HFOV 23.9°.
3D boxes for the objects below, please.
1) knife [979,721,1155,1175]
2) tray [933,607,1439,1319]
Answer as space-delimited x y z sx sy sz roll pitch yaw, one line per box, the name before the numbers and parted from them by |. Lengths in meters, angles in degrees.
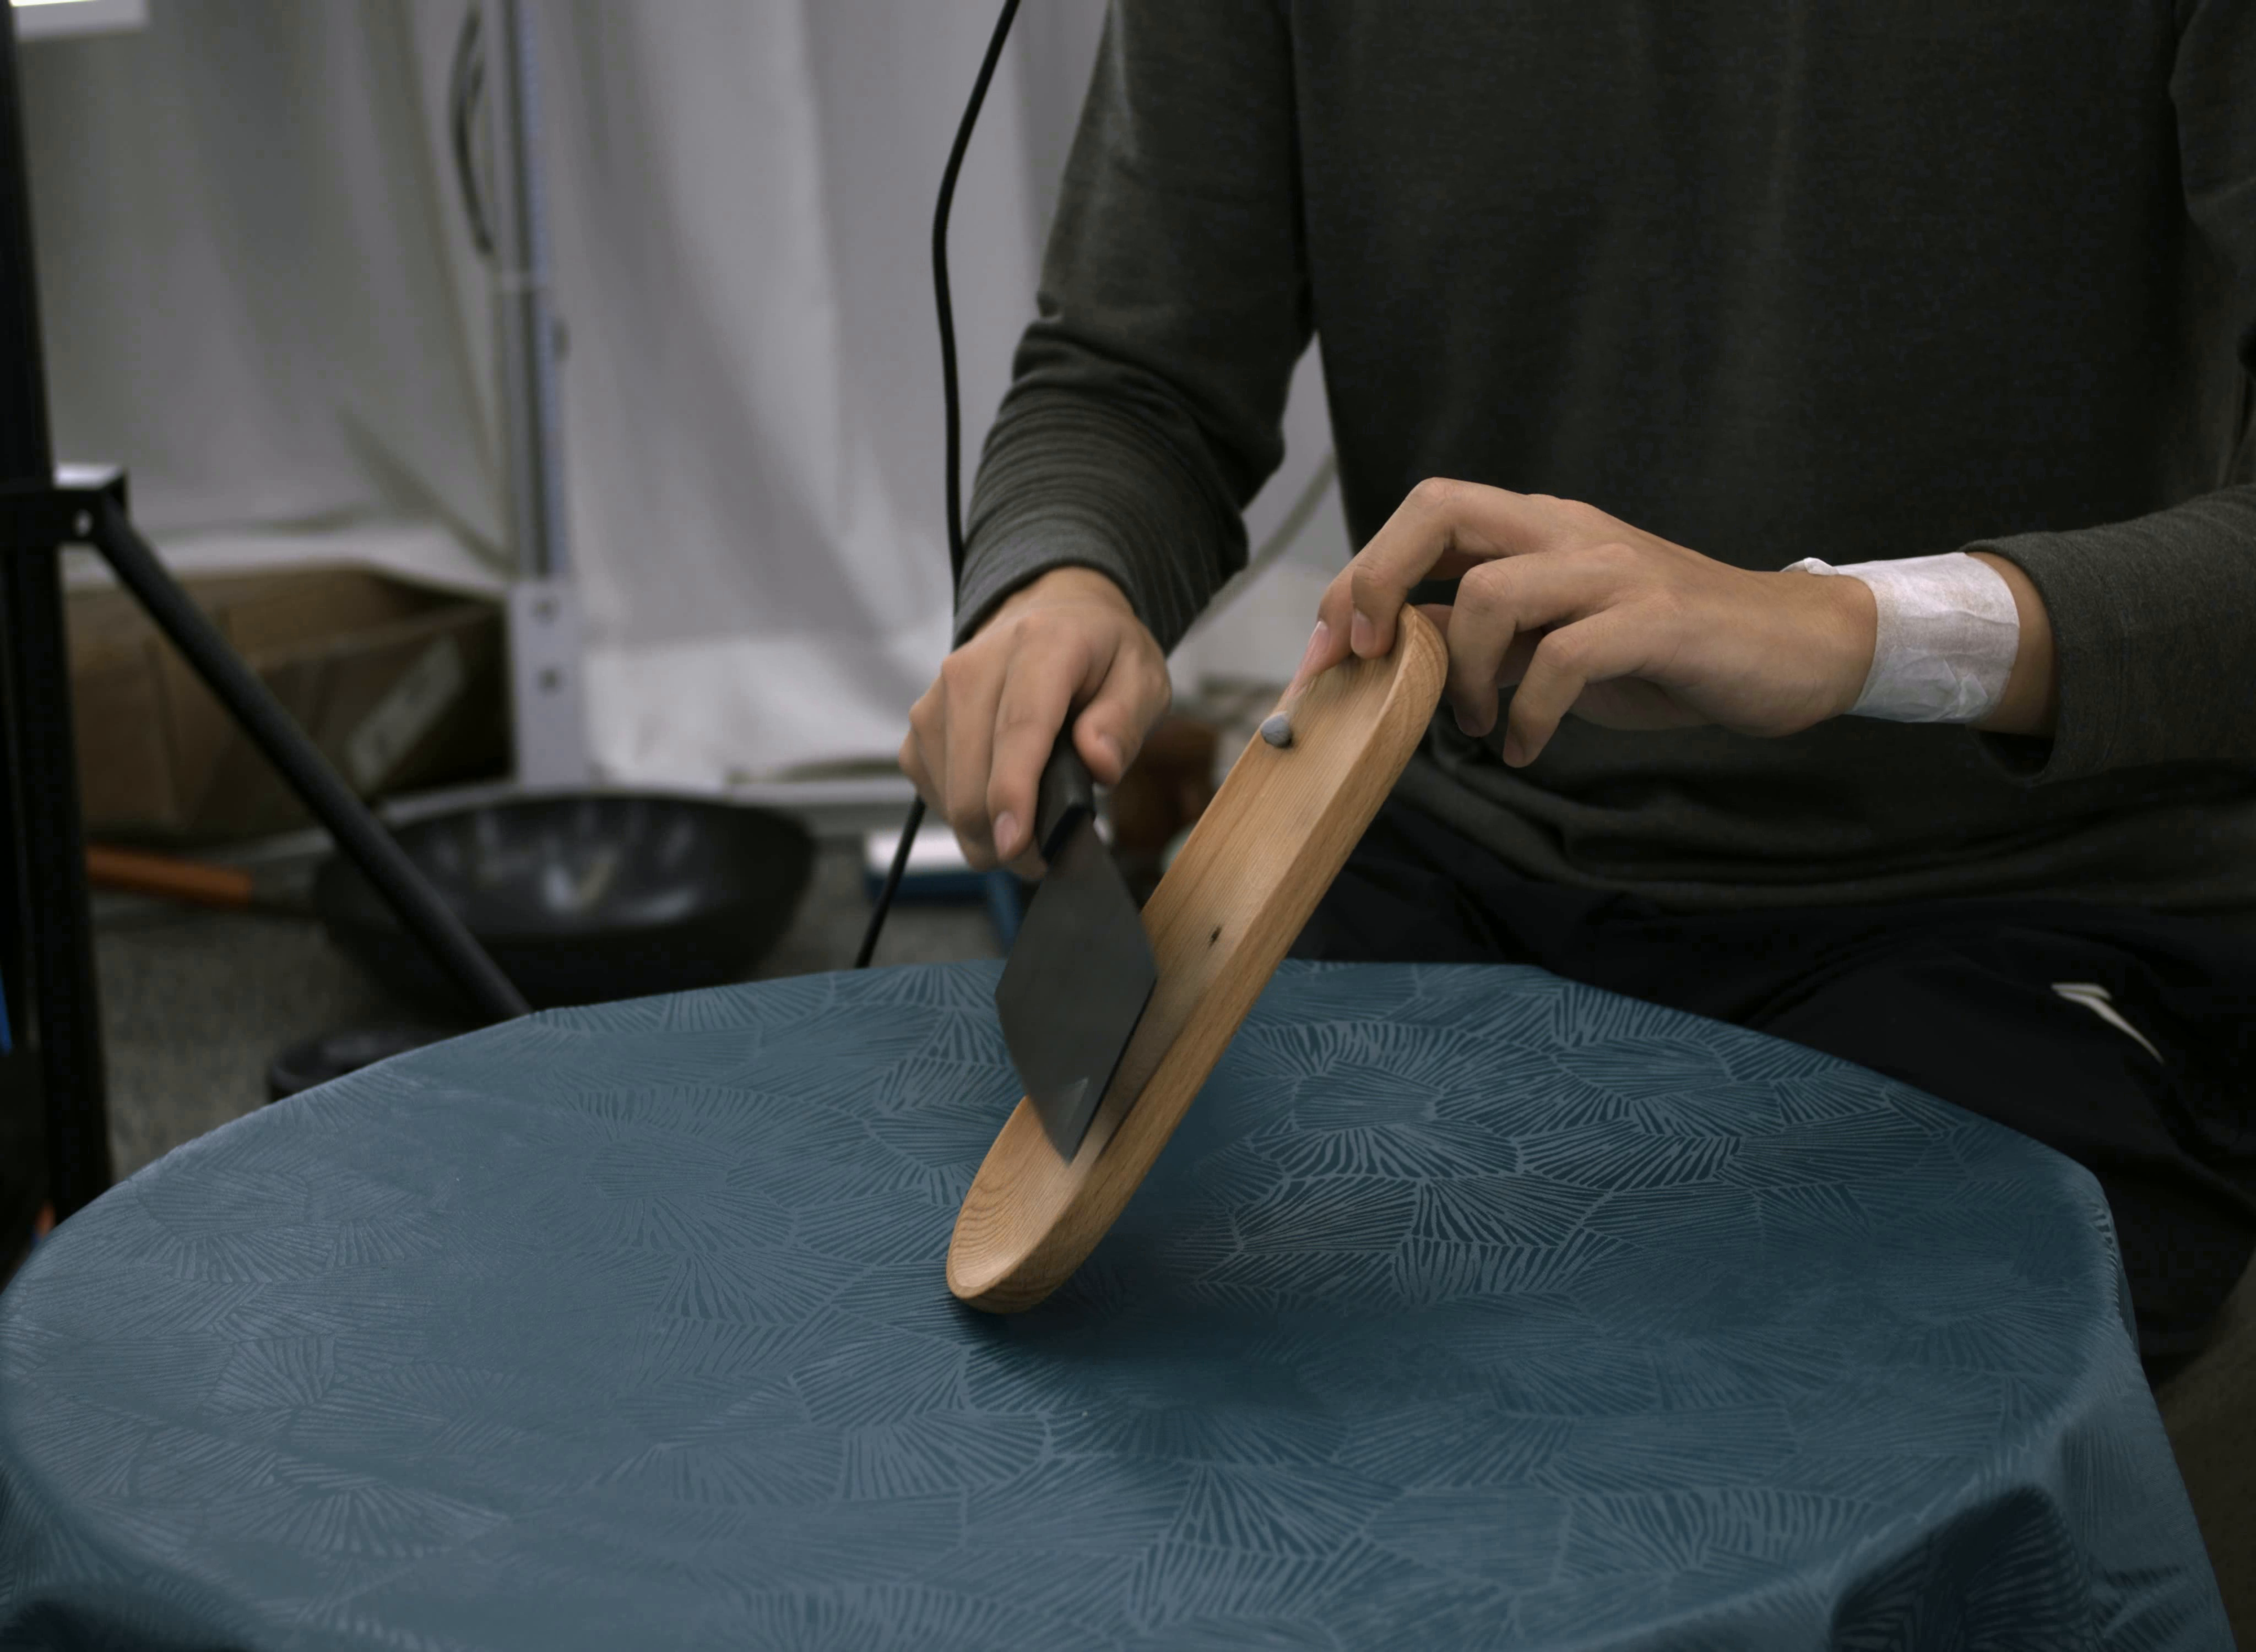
knife | -0.023 0.027 1.534 0.020 0.081 0.305 24 15 -13
tray | 0.017 0.038 1.475 0.020 0.231 0.103 34 -9 -13
